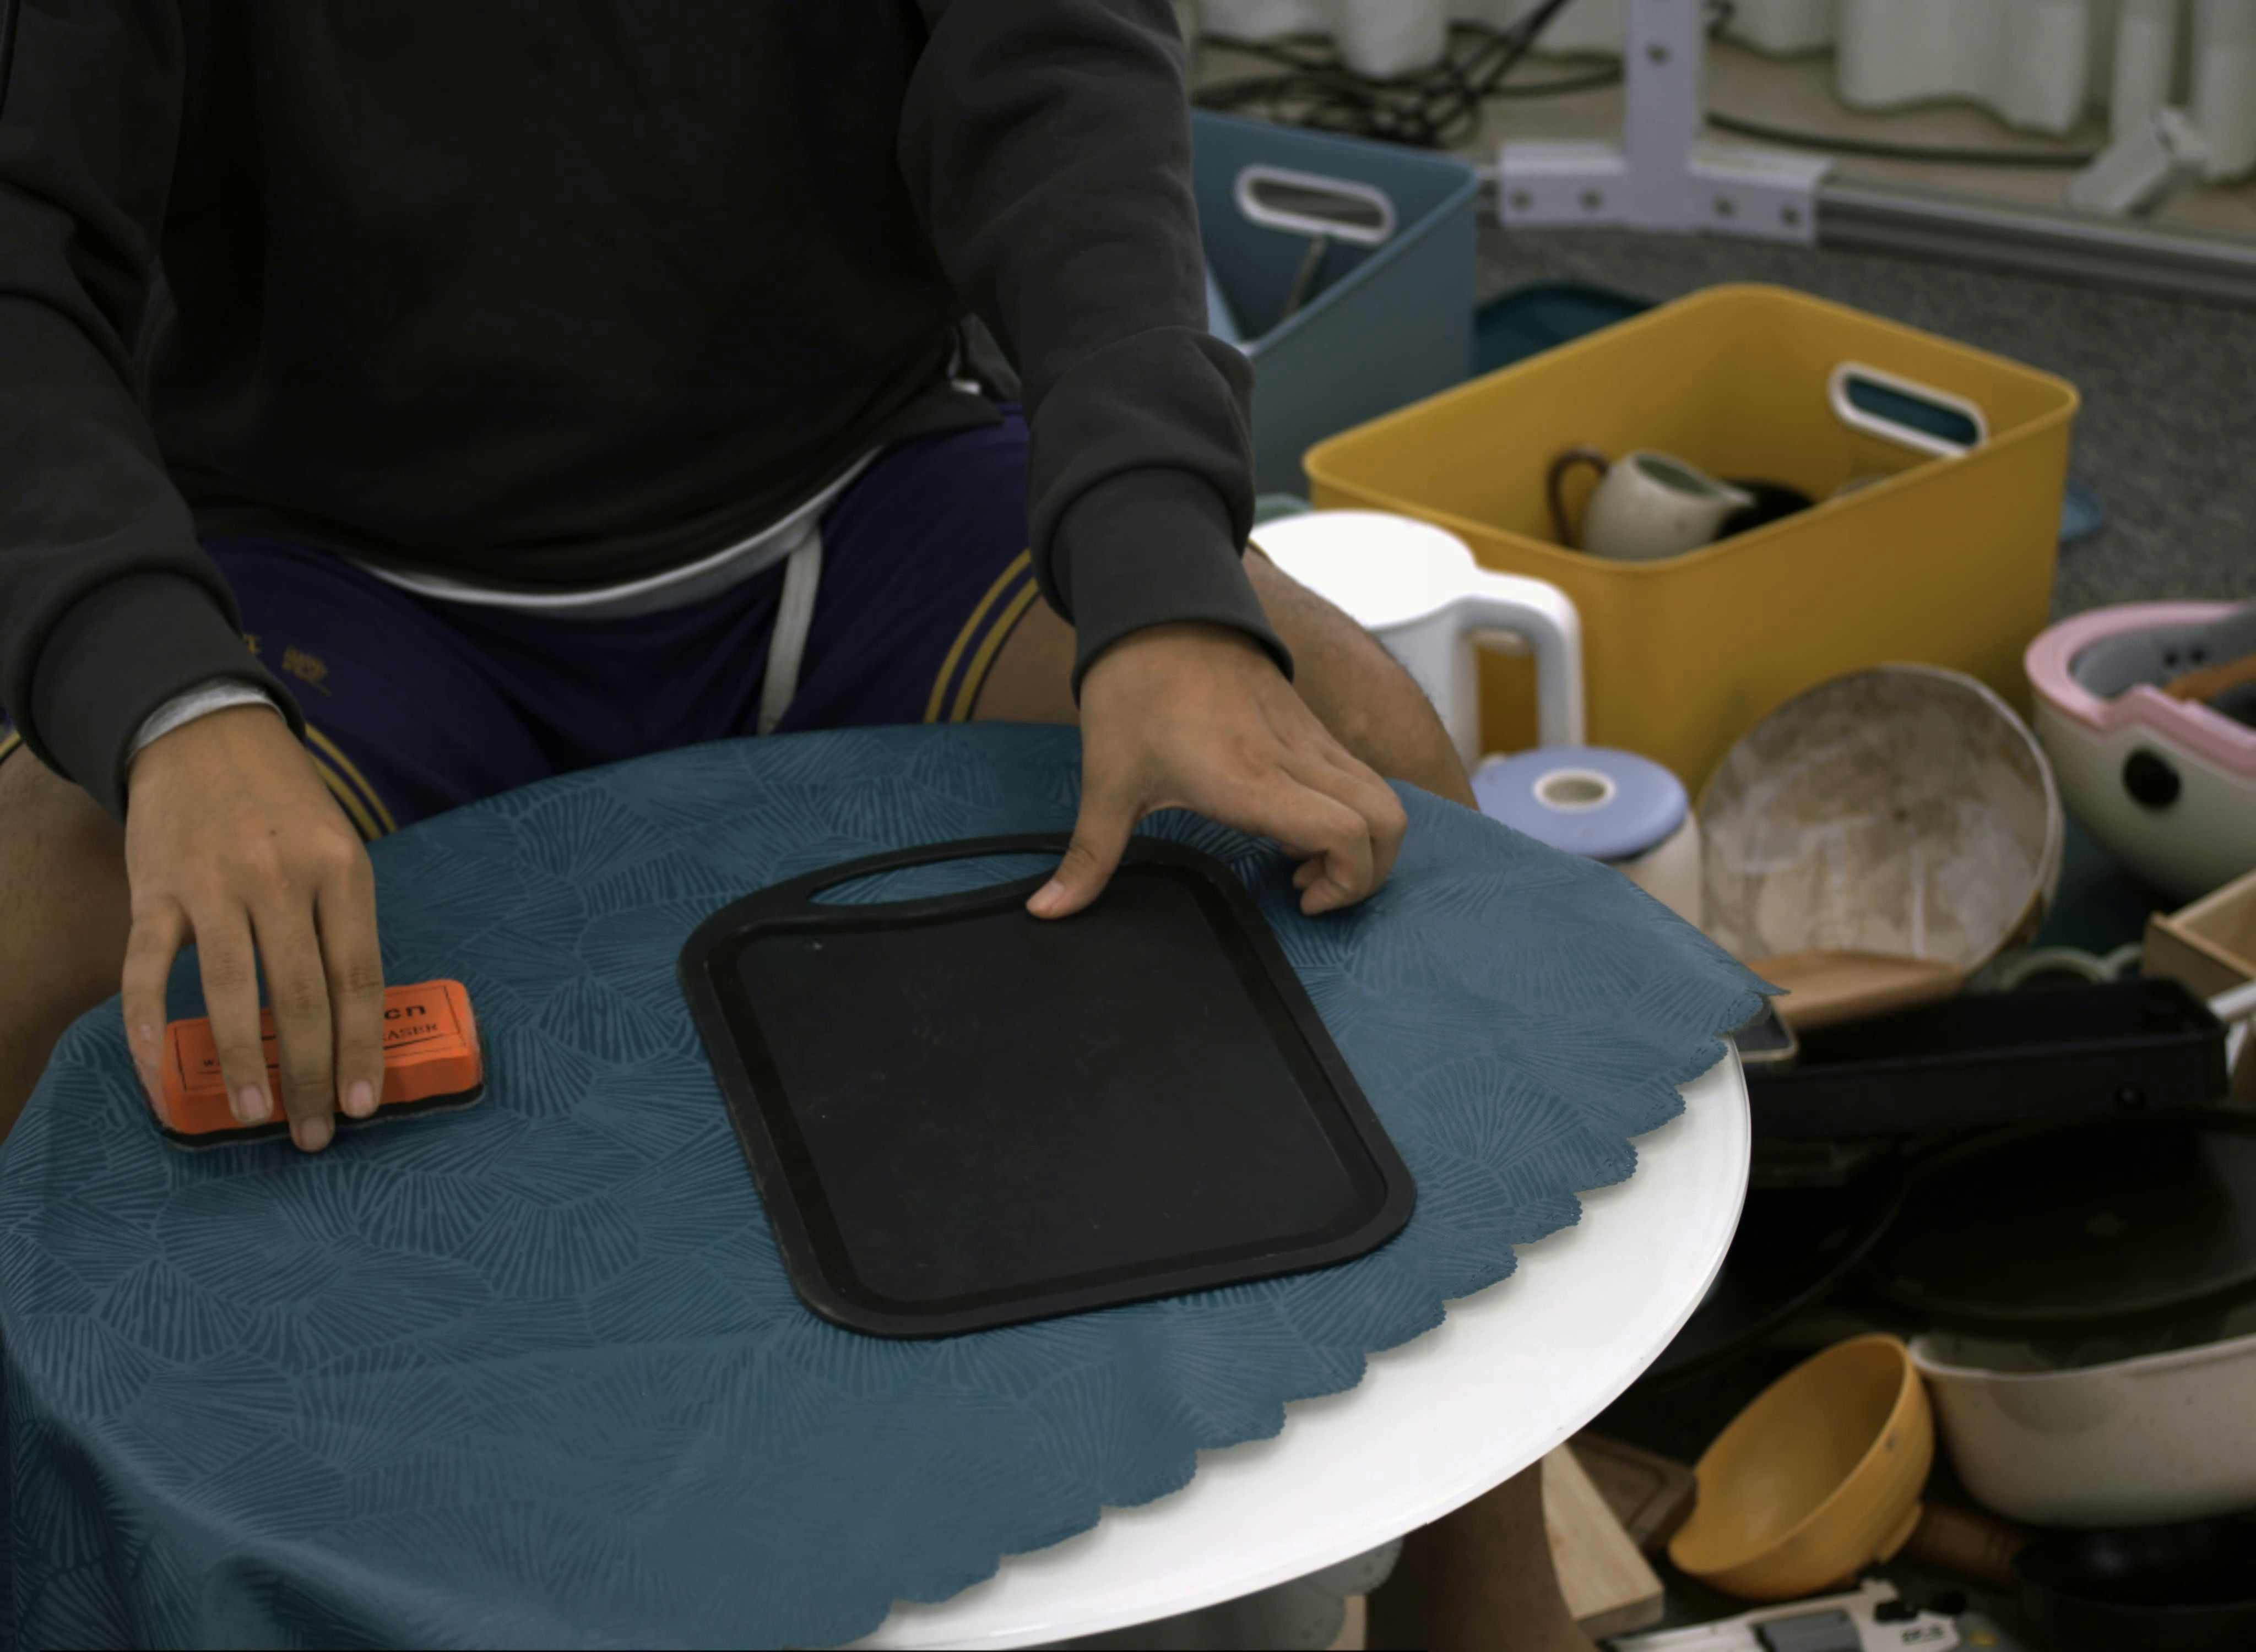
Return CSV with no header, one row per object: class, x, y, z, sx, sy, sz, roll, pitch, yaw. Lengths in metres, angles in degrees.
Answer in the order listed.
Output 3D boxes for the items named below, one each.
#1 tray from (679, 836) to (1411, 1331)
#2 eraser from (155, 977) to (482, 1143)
tray,-0.037,0.080,1.940,0.211,0.009,0.329,-8,28,-11
eraser,-0.279,0.081,1.937,0.108,0.022,0.059,-8,28,-12
